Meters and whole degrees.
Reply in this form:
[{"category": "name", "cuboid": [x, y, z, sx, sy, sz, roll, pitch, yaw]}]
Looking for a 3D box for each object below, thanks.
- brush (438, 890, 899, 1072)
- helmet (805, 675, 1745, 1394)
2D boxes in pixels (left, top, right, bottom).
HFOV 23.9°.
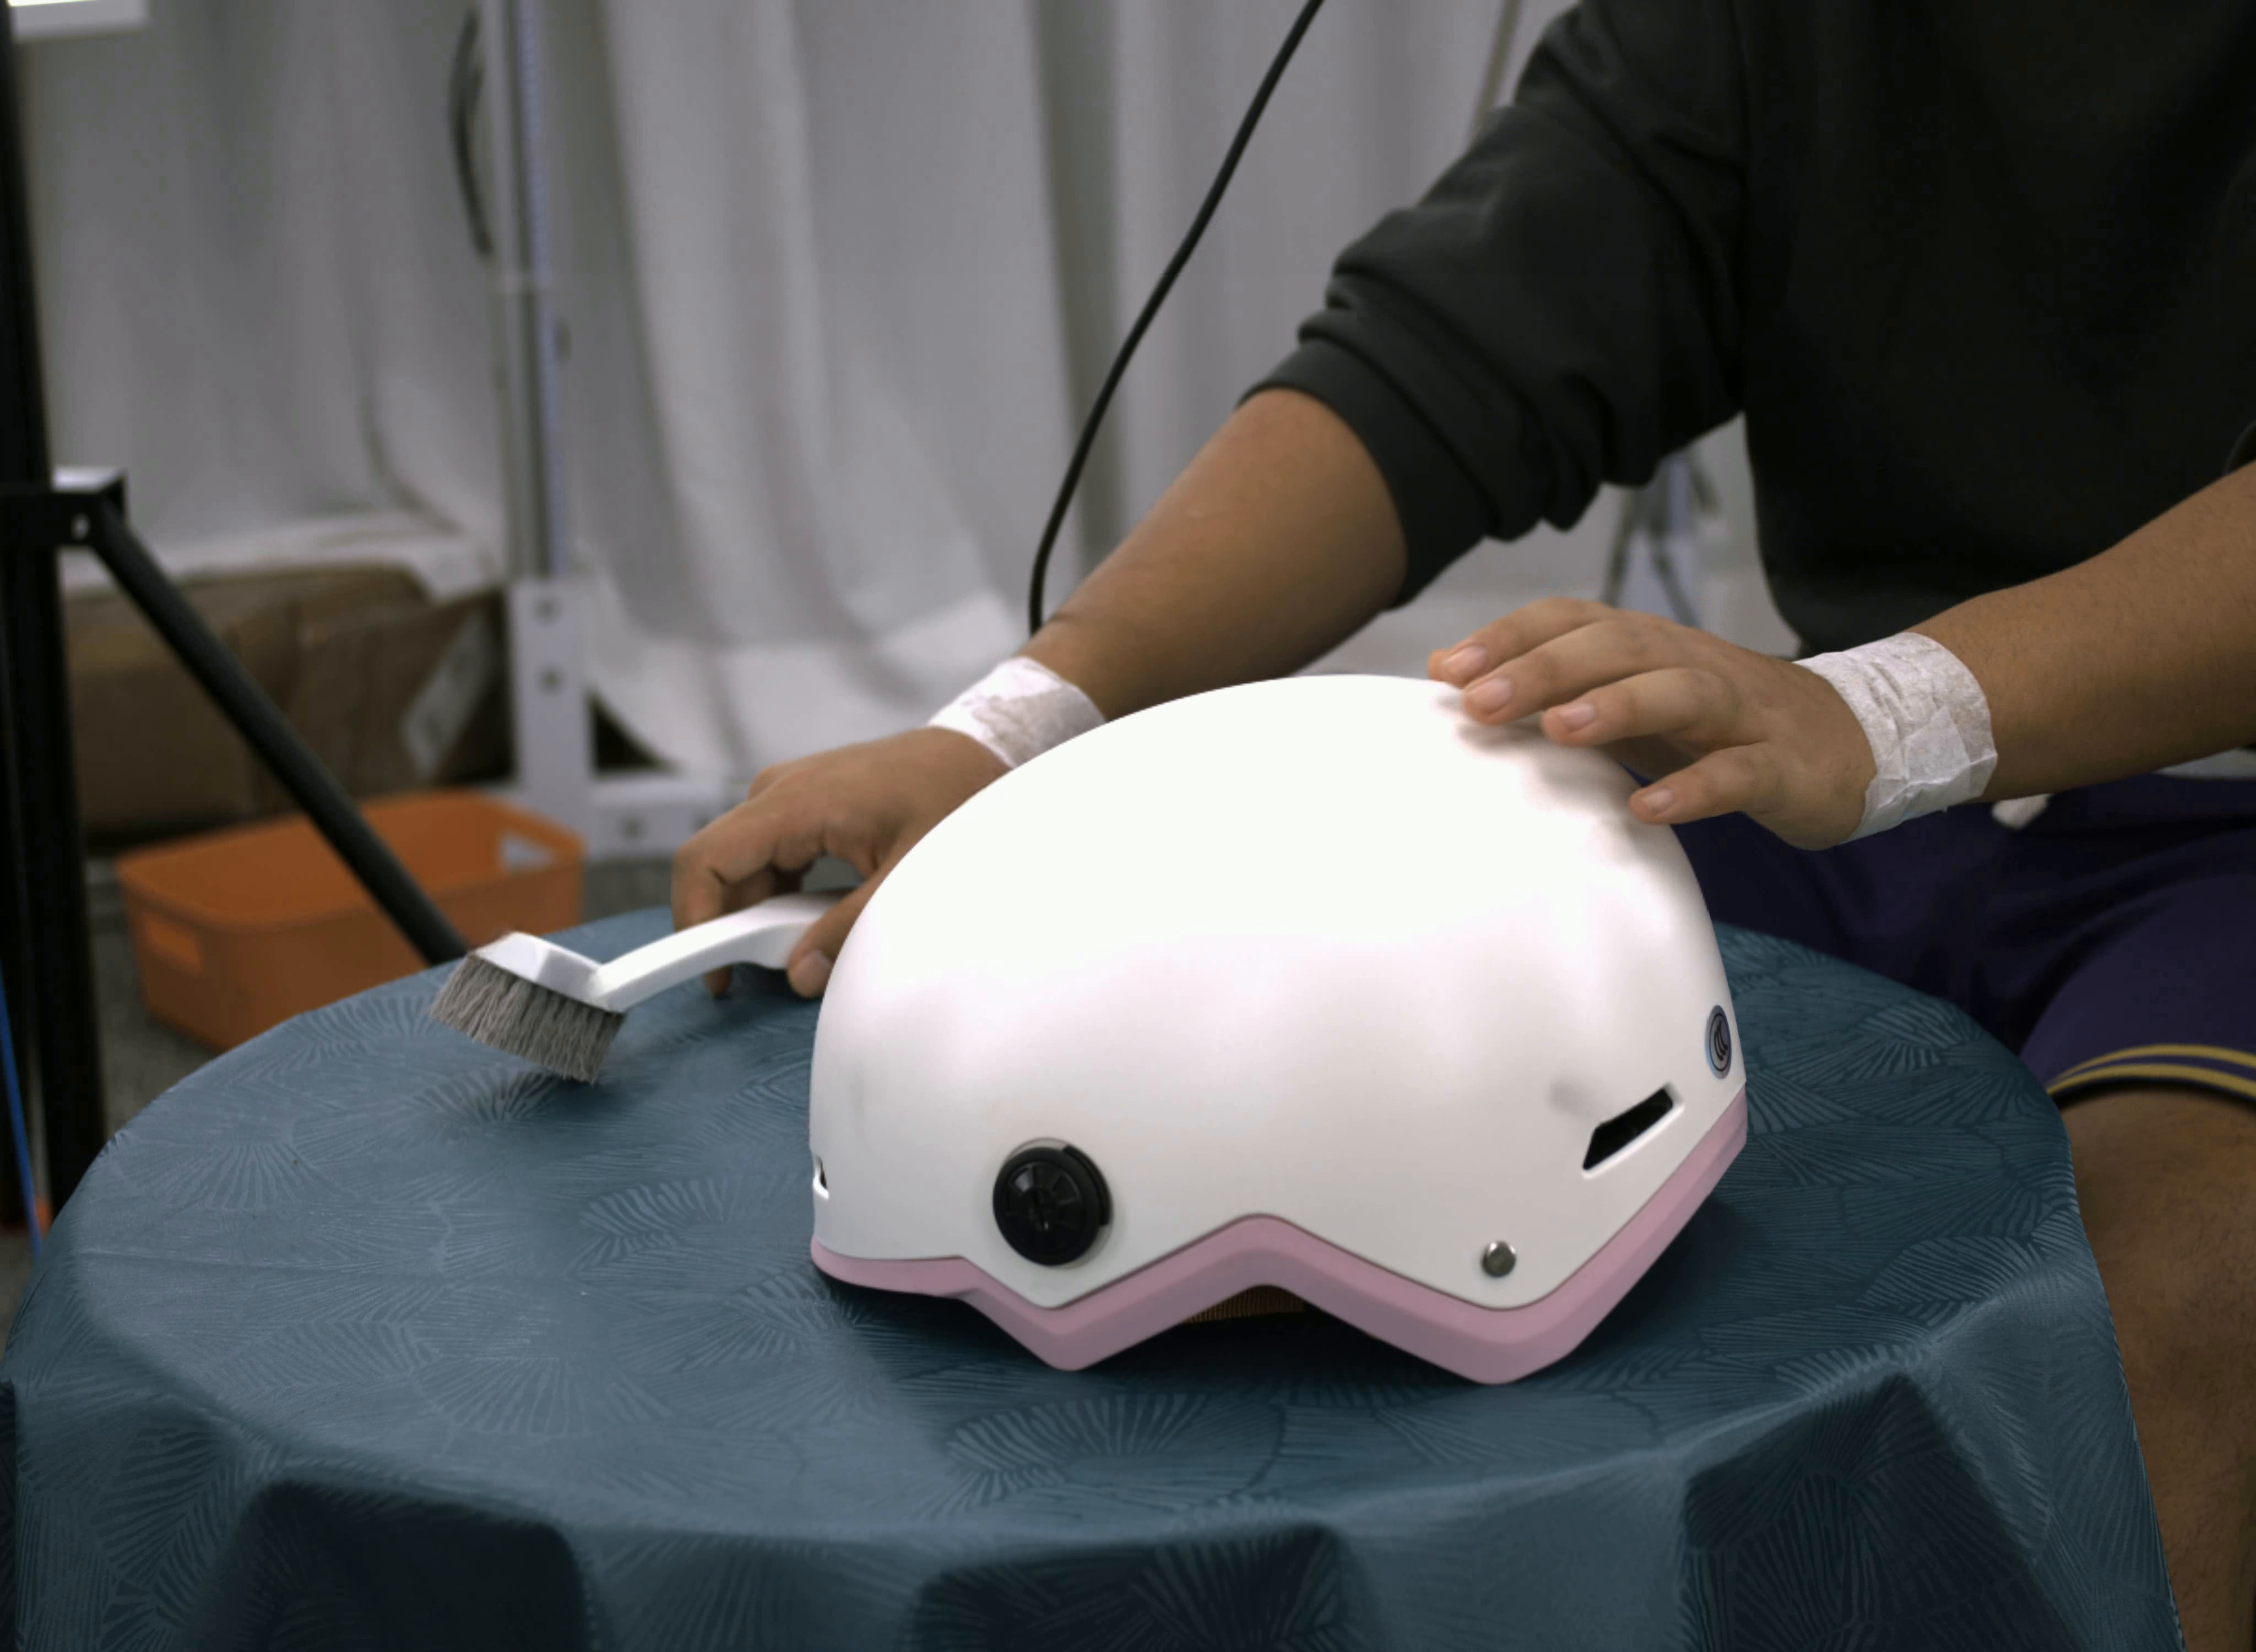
[{"category": "brush", "cuboid": [-0.136, 0.050, 1.744, 0.035, 0.050, 0.238, 22, 14, 31]}, {"category": "helmet", "cuboid": [0.037, 0.043, 1.487, 0.272, 0.167, 0.234, 4, 17, 22]}]
